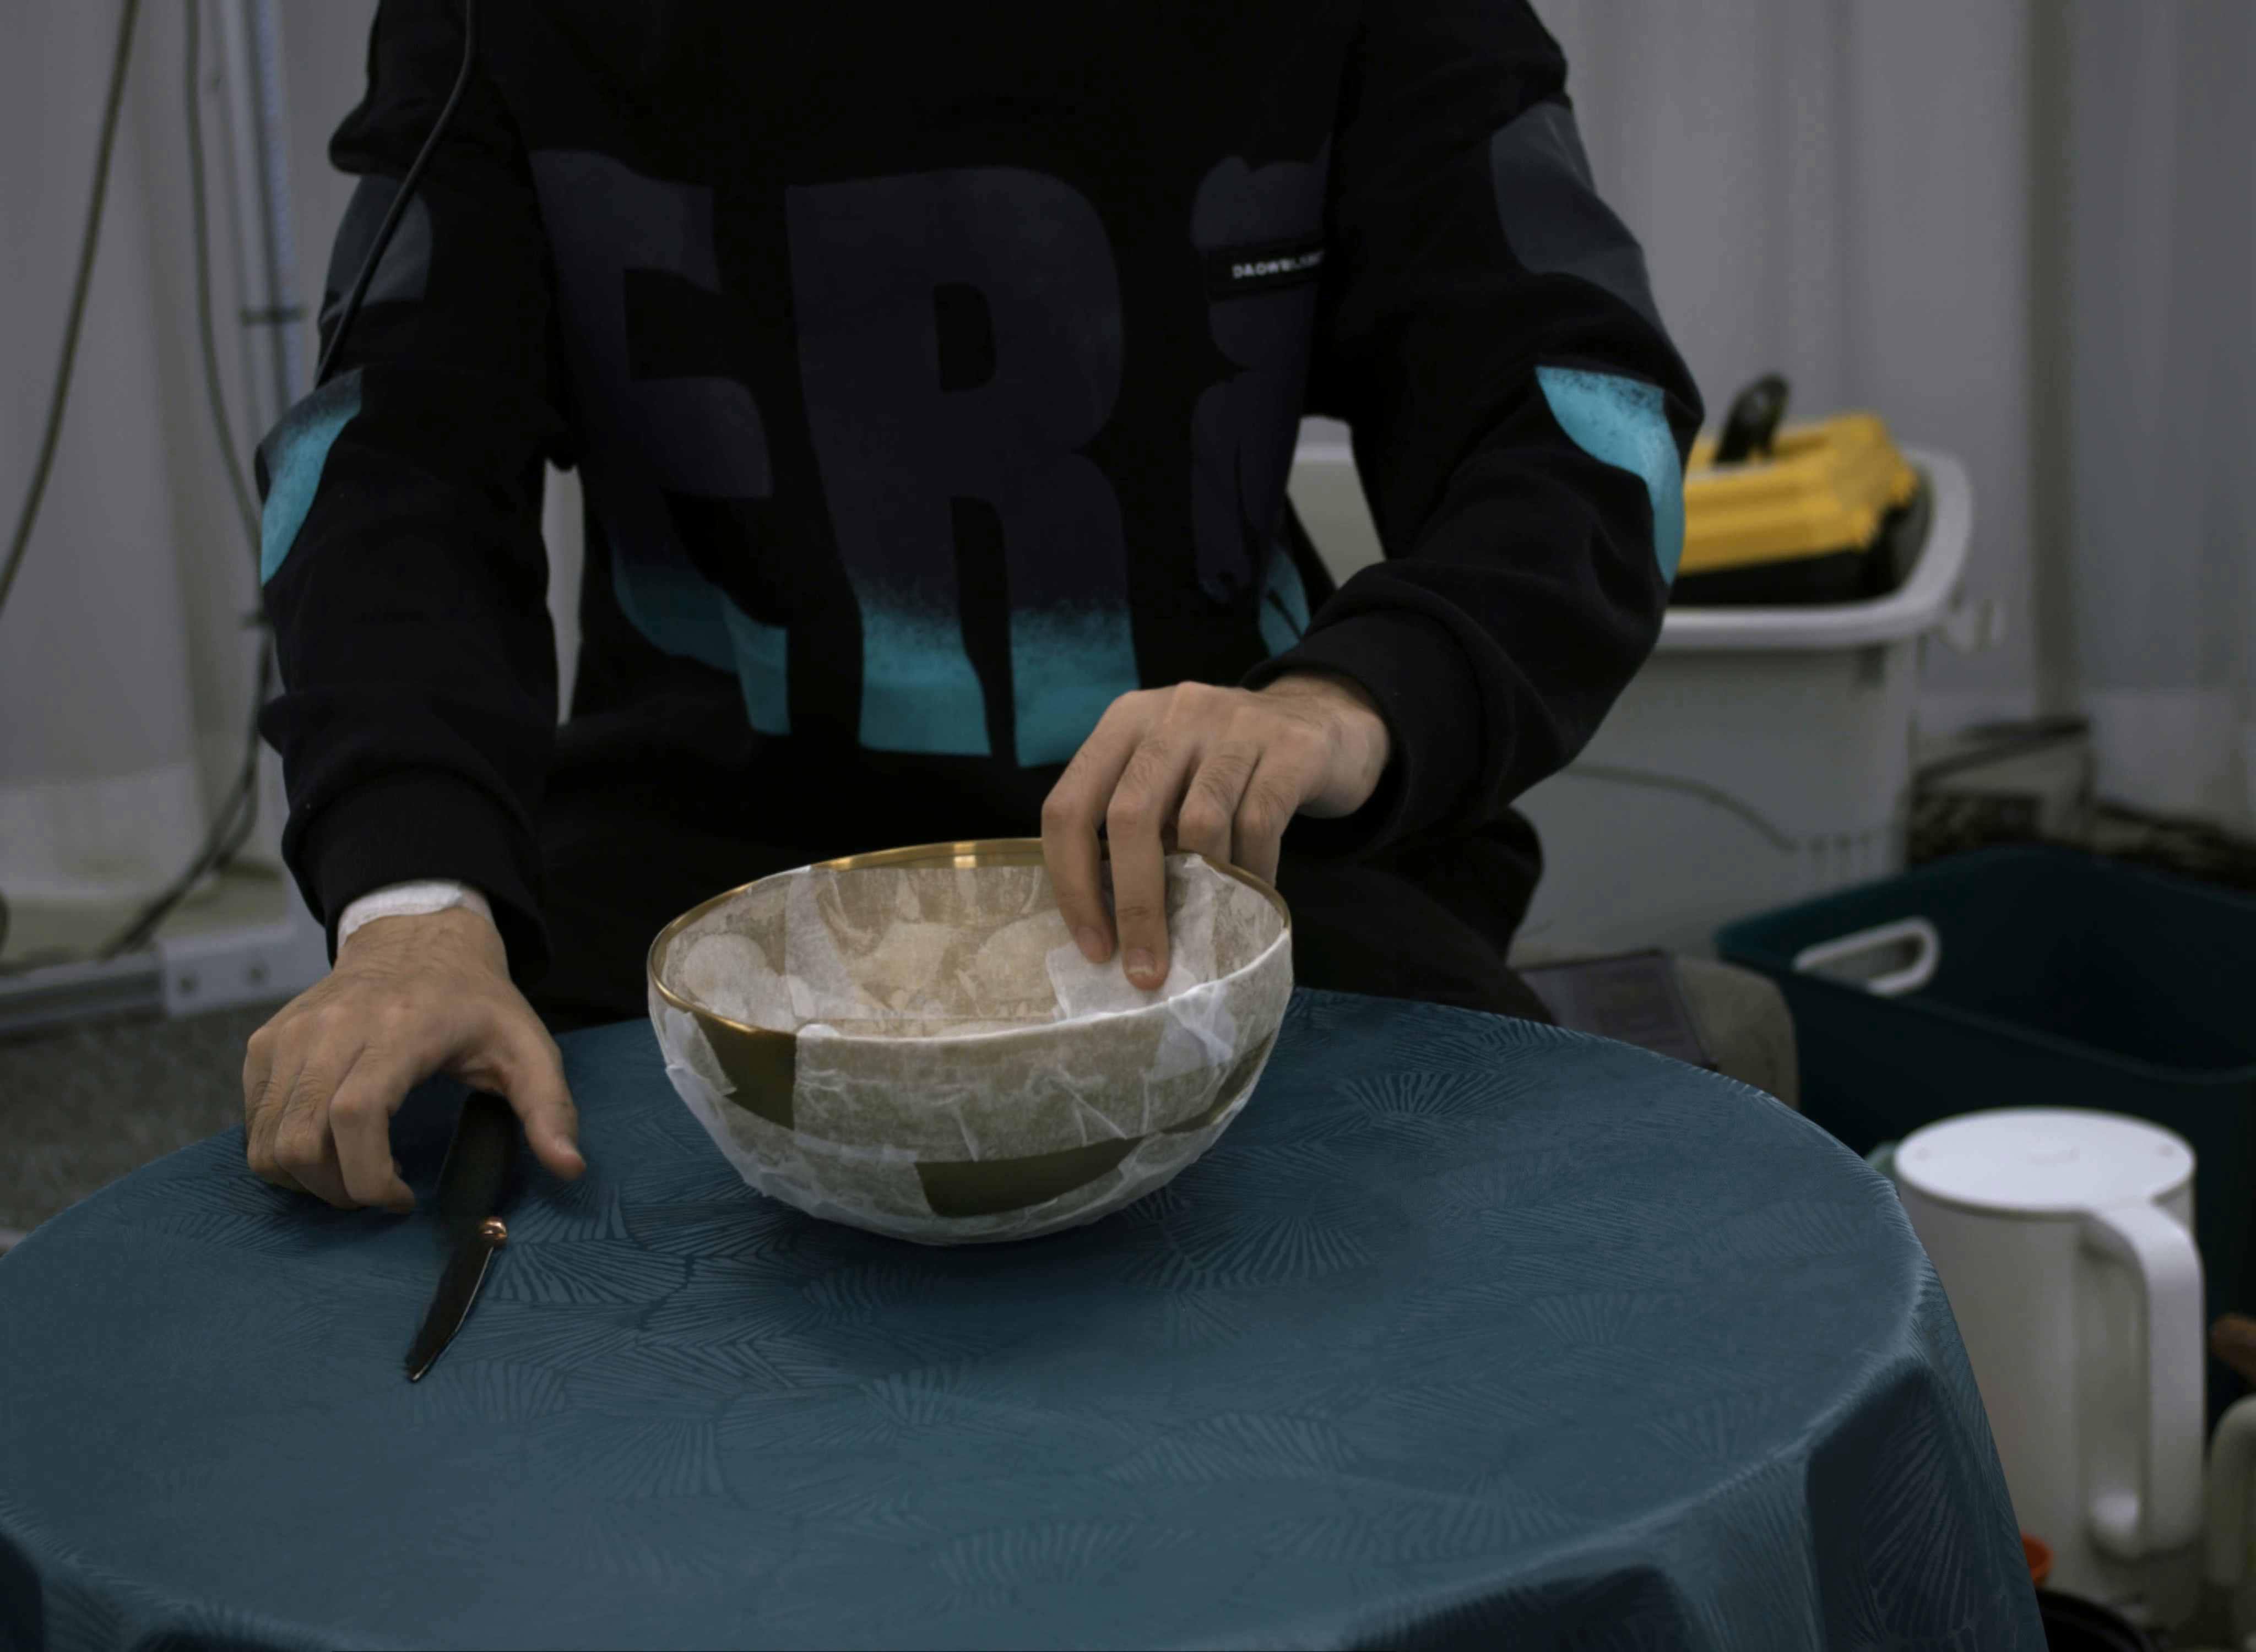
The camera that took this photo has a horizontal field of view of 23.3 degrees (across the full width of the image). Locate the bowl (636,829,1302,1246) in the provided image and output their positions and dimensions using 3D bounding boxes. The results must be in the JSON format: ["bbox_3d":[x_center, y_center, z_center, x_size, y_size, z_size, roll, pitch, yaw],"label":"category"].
[{"bbox_3d":[-0.045,0.073,1.694,0.214,0.094,0.216,-5,16,1],"label":"bowl"}]

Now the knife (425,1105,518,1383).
[{"bbox_3d":[-0.204,0.128,1.687,0.026,0.017,0.227,4,16,-4],"label":"knife"}]
